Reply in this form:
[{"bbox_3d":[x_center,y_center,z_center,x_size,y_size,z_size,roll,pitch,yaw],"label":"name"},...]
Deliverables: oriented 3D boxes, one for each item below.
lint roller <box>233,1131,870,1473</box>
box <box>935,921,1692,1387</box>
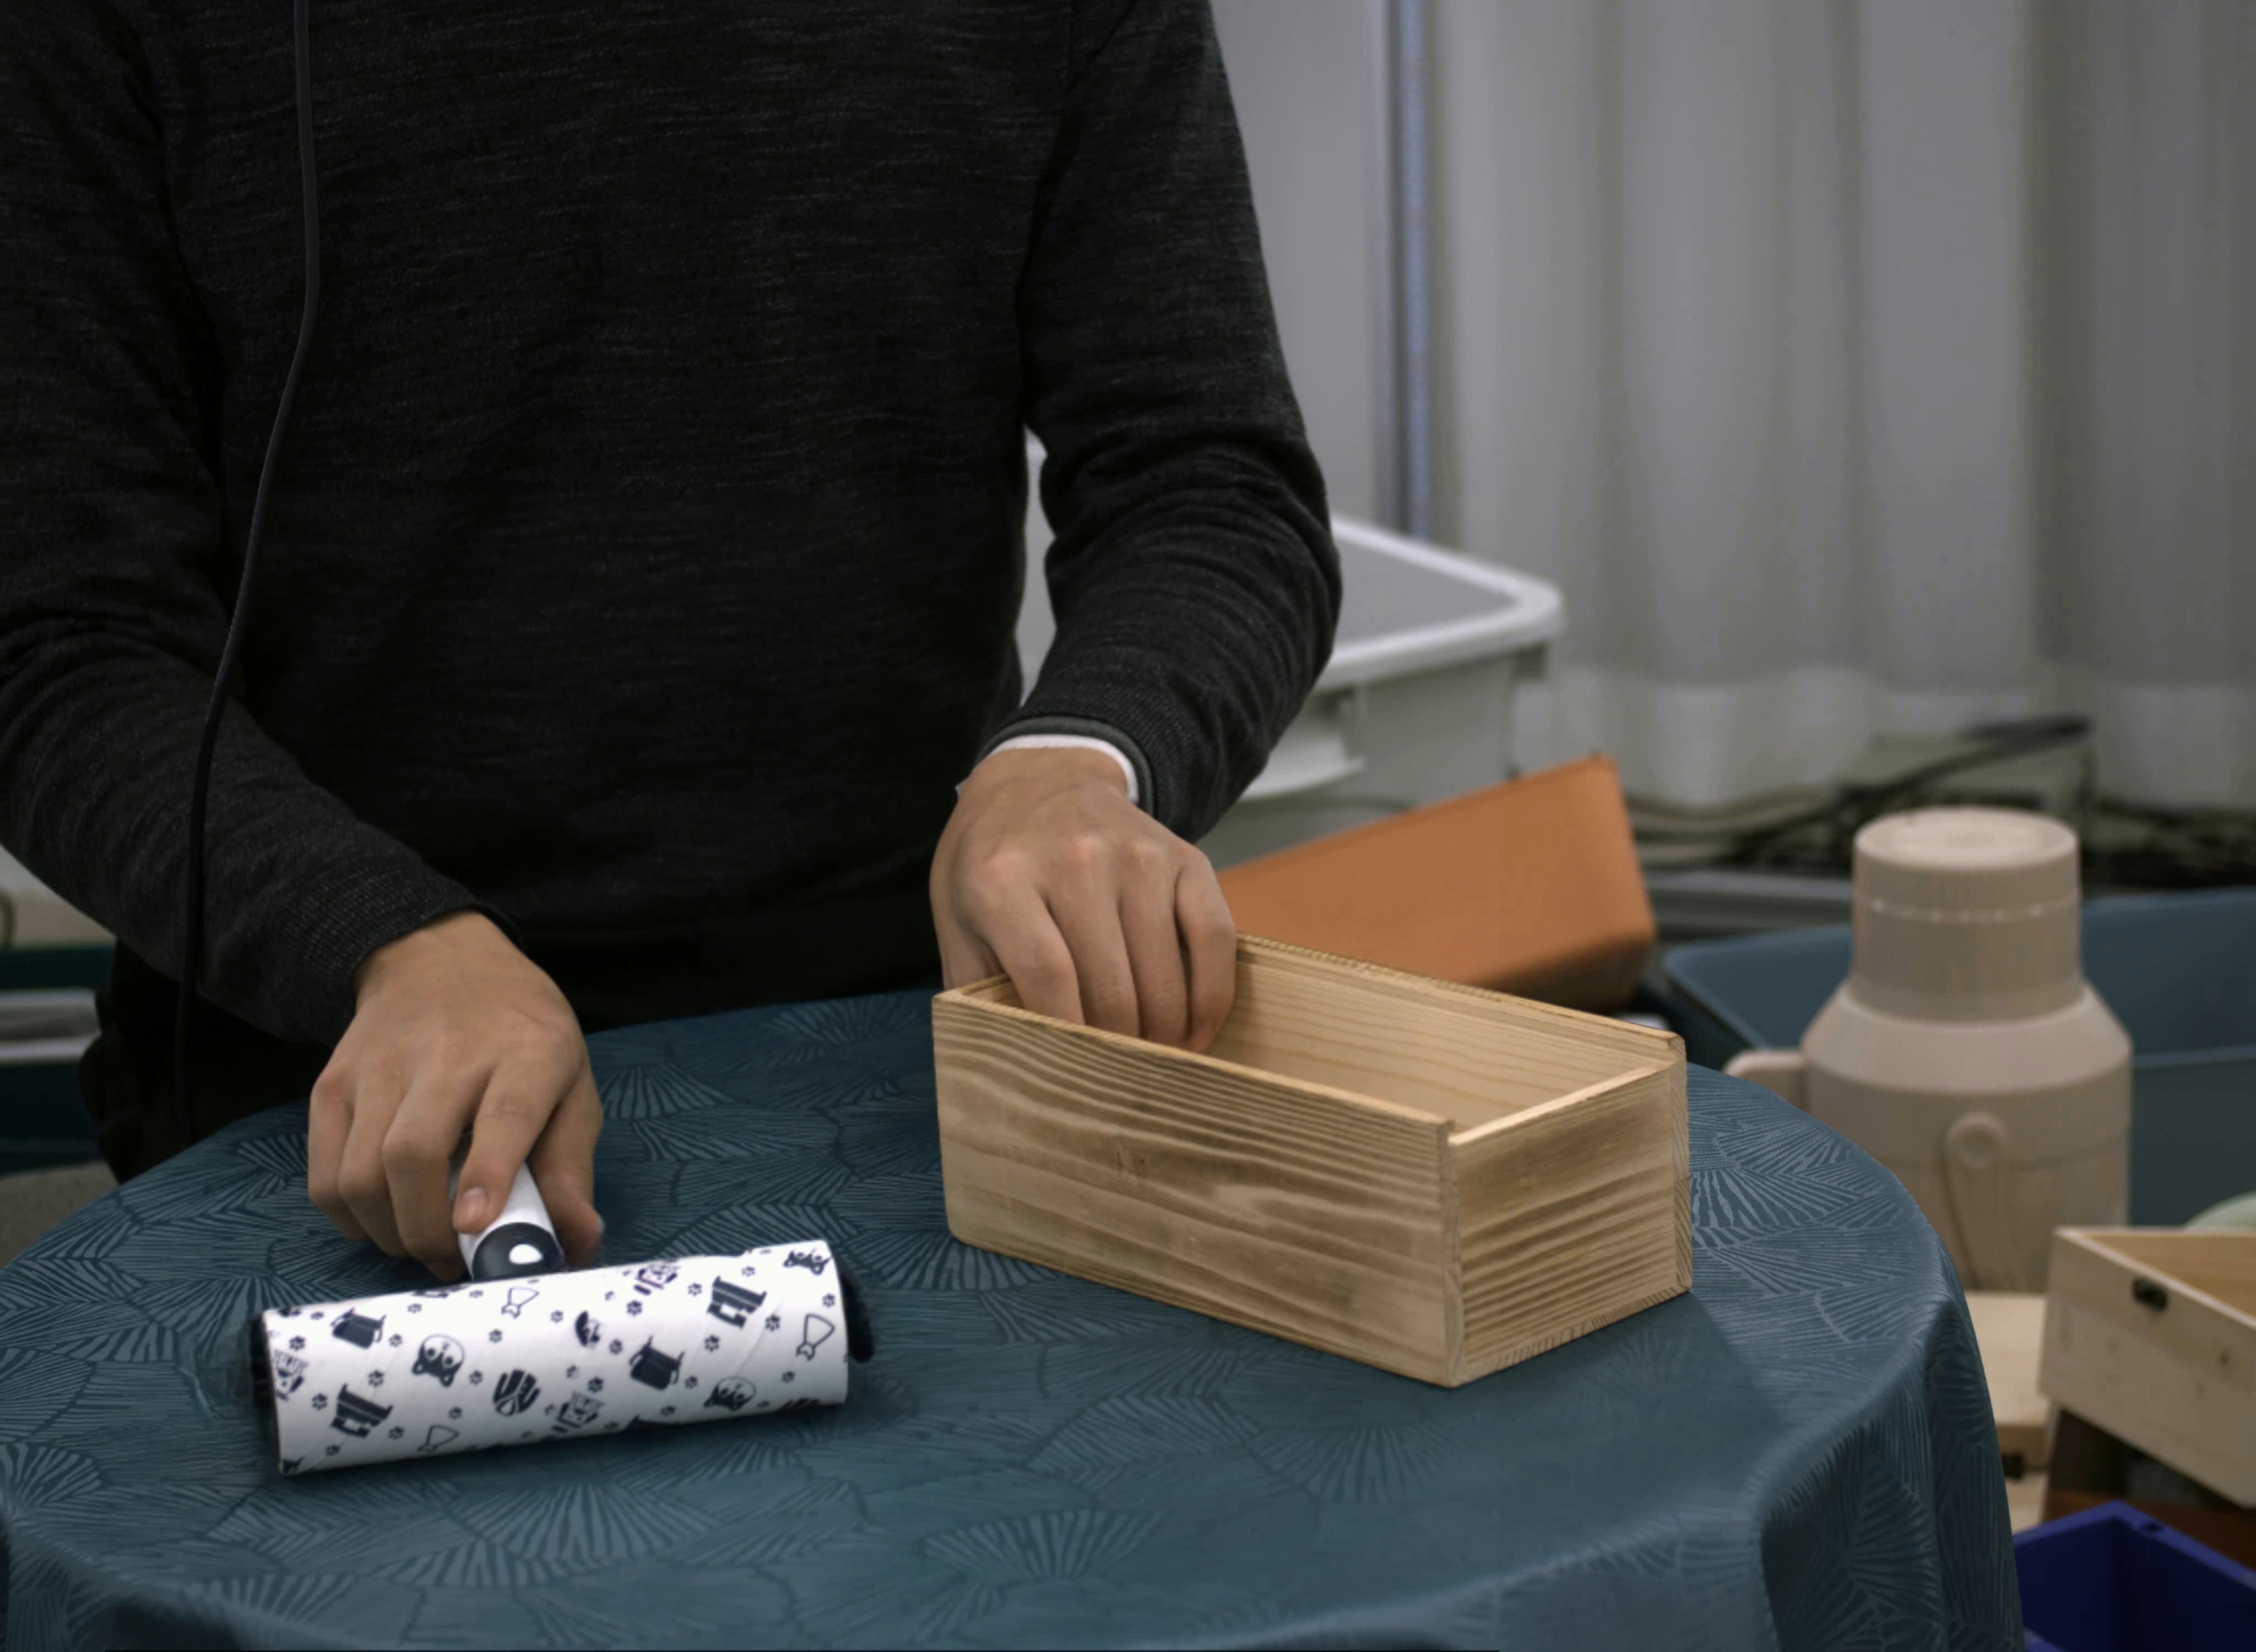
[{"bbox_3d":[-0.185,0.126,1.624,0.175,0.050,0.249,-7,14,-12],"label":"lint roller"},{"bbox_3d":[0.053,0.094,1.628,0.107,0.080,0.212,-16,19,-42],"label":"box"}]
